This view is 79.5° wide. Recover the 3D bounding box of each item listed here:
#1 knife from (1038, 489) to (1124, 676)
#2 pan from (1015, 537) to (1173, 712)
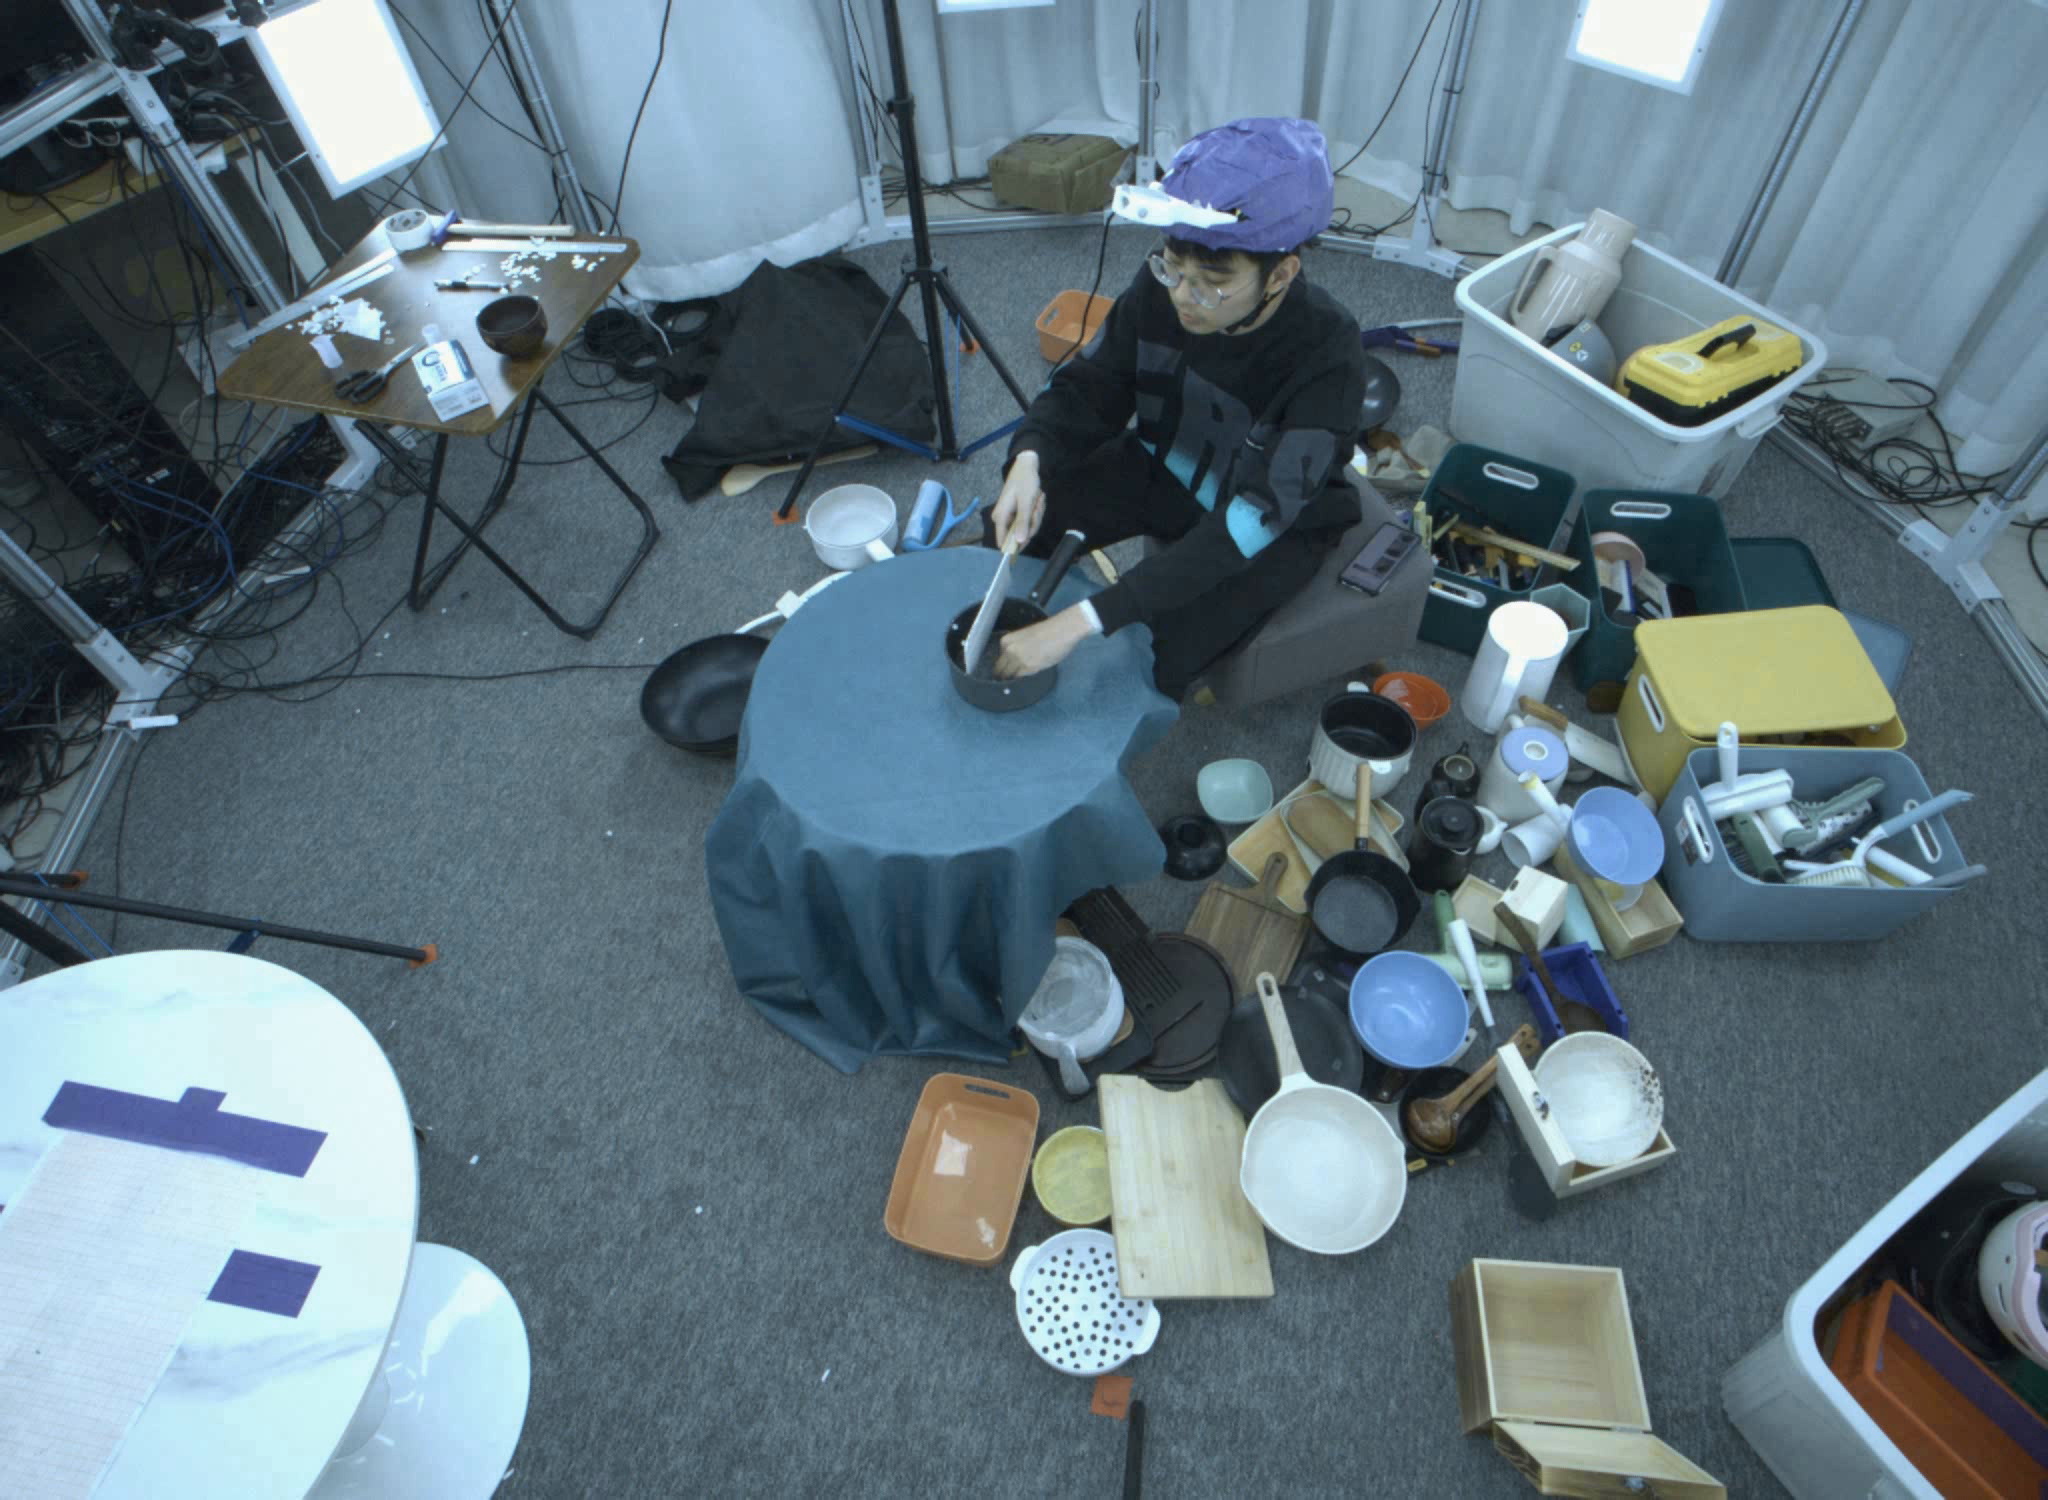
[{"bbox_3d":[0.080,-0.251,1.803,0.021,0.115,0.315,20,72,12],"label":"knife"},{"bbox_3d":[0.121,-0.196,1.869,0.169,0.087,0.330,31,62,20],"label":"pan"}]
